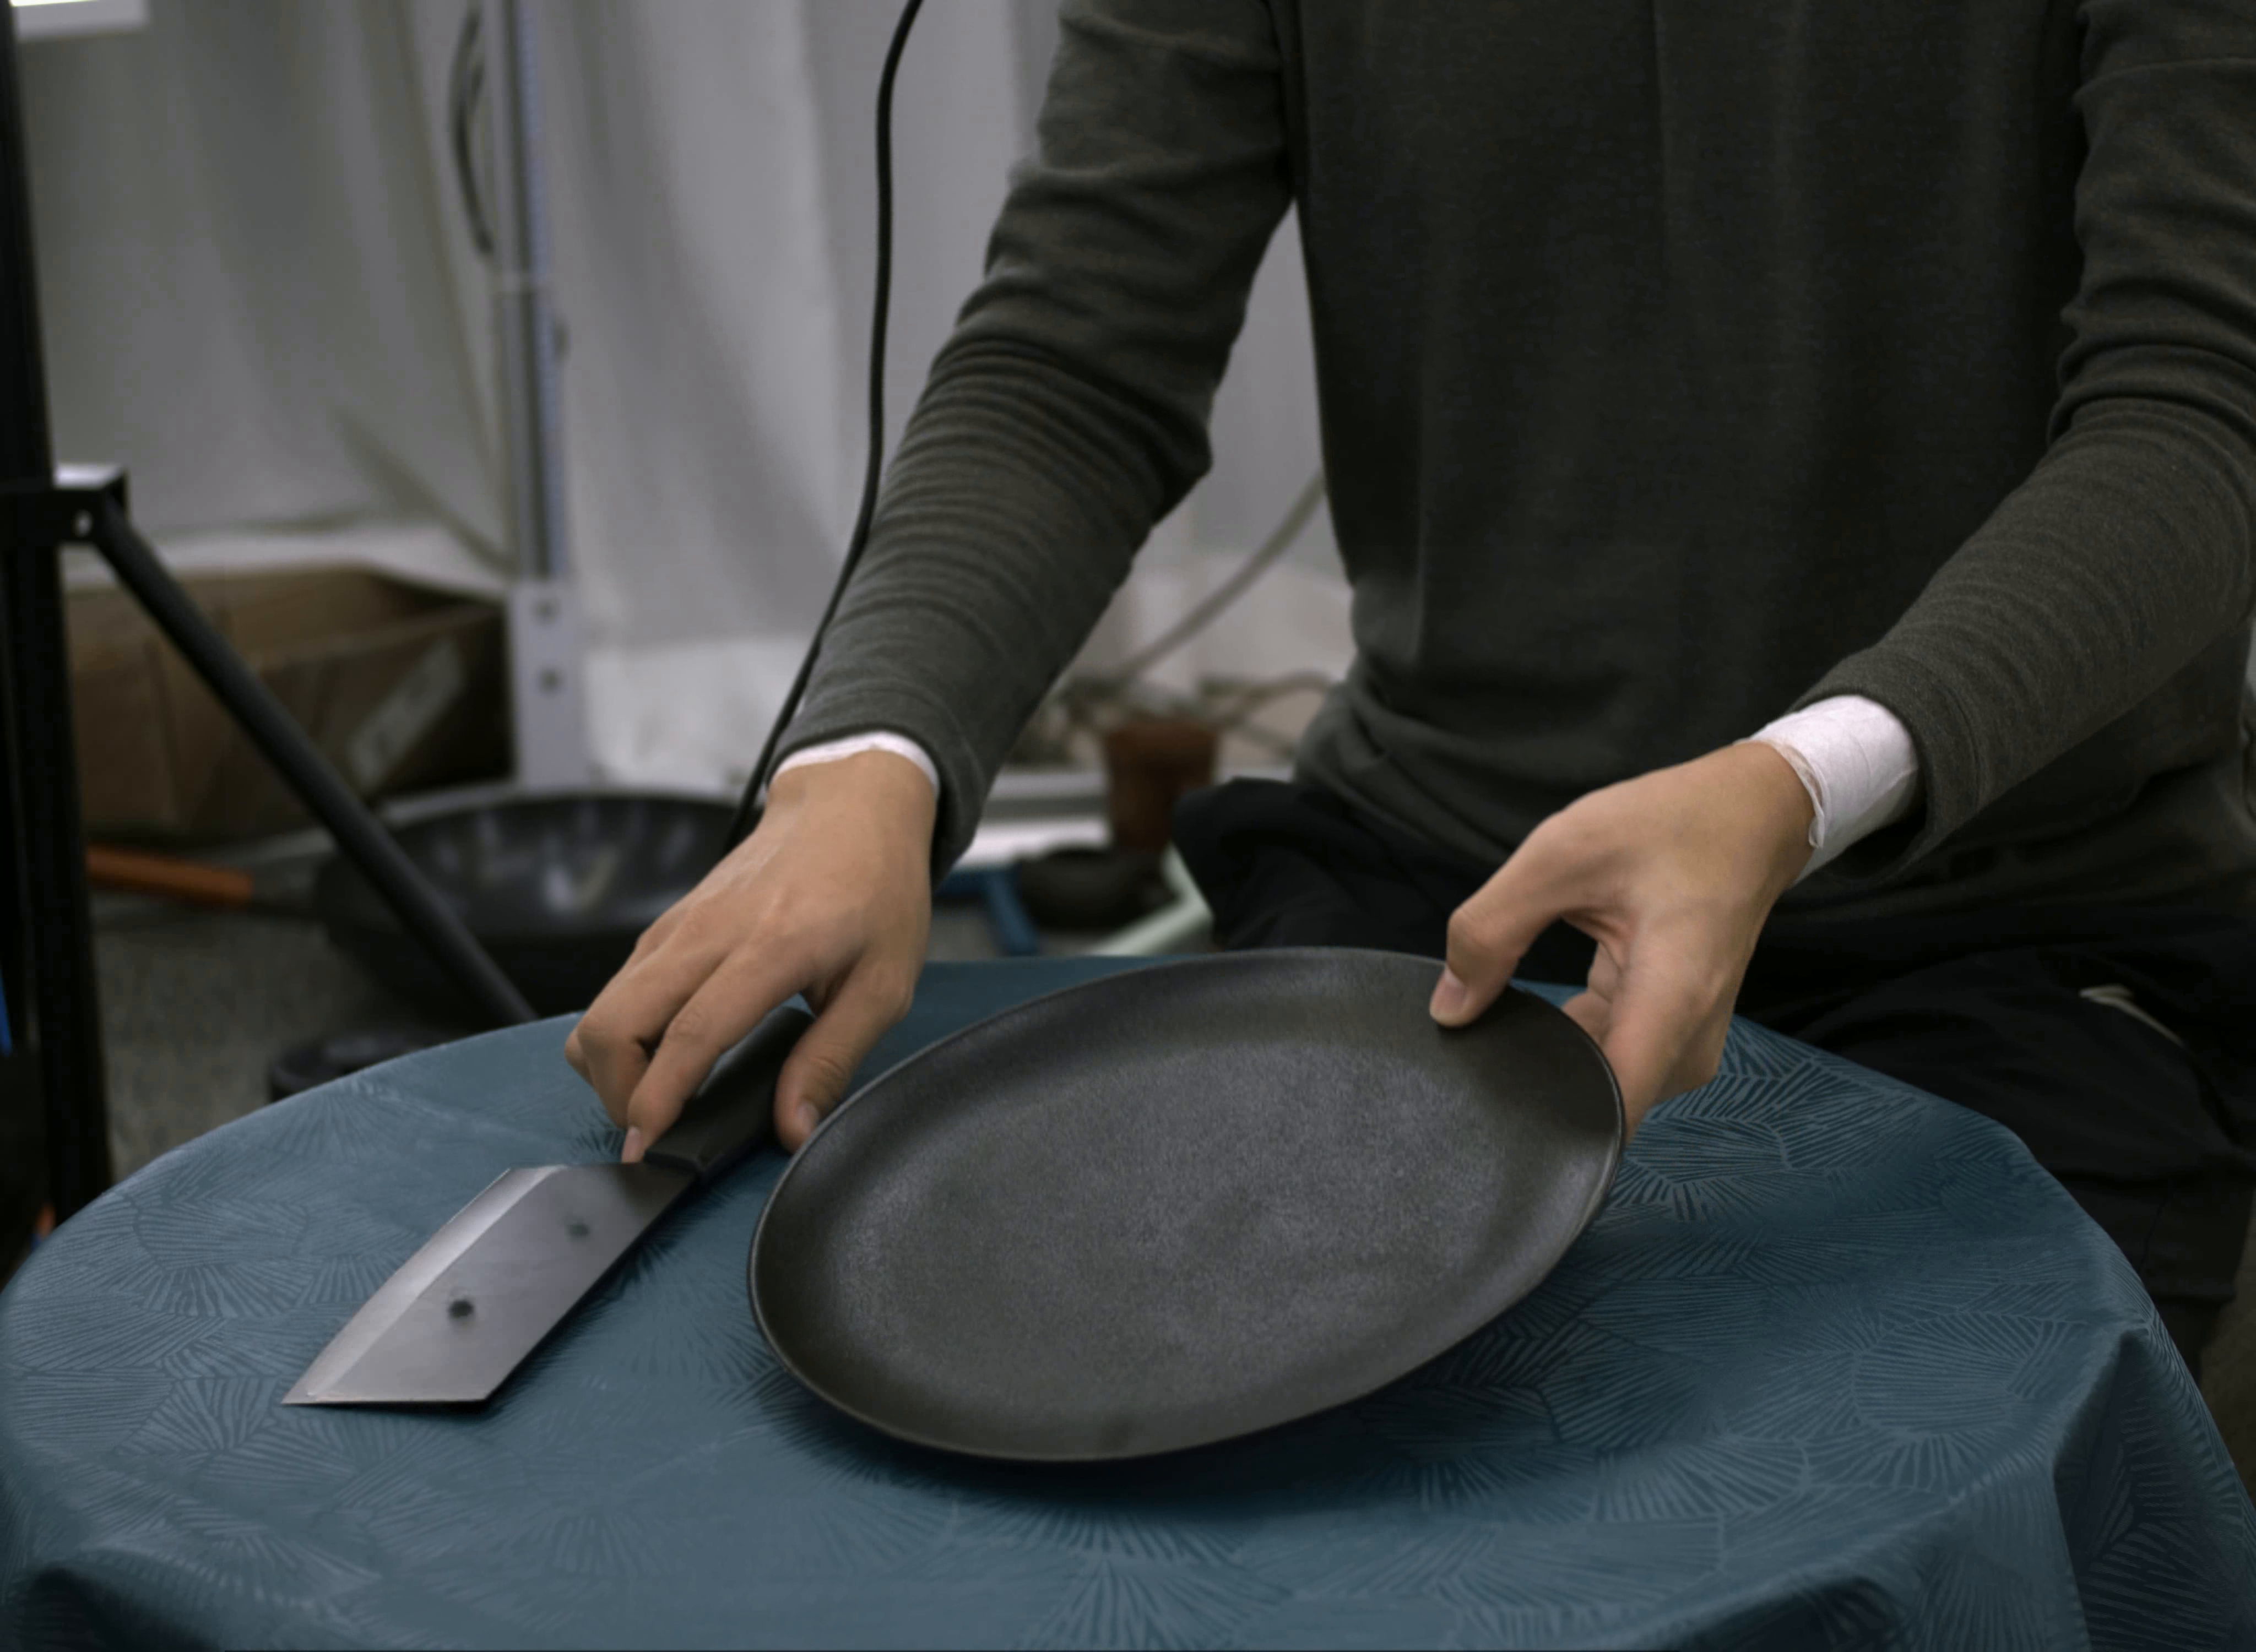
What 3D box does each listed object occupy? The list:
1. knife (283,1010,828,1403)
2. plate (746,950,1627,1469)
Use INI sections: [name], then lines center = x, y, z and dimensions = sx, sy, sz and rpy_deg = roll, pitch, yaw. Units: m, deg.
[knife]
center = -0.157, 0.110, 1.555
dimensions = 0.082, 0.021, 0.299
rpy_deg = 0, 17, 21
[plate]
center = 0.017, 0.106, 1.436
dimensions = 0.244, 0.023, 0.246
rpy_deg = -12, 28, 5
